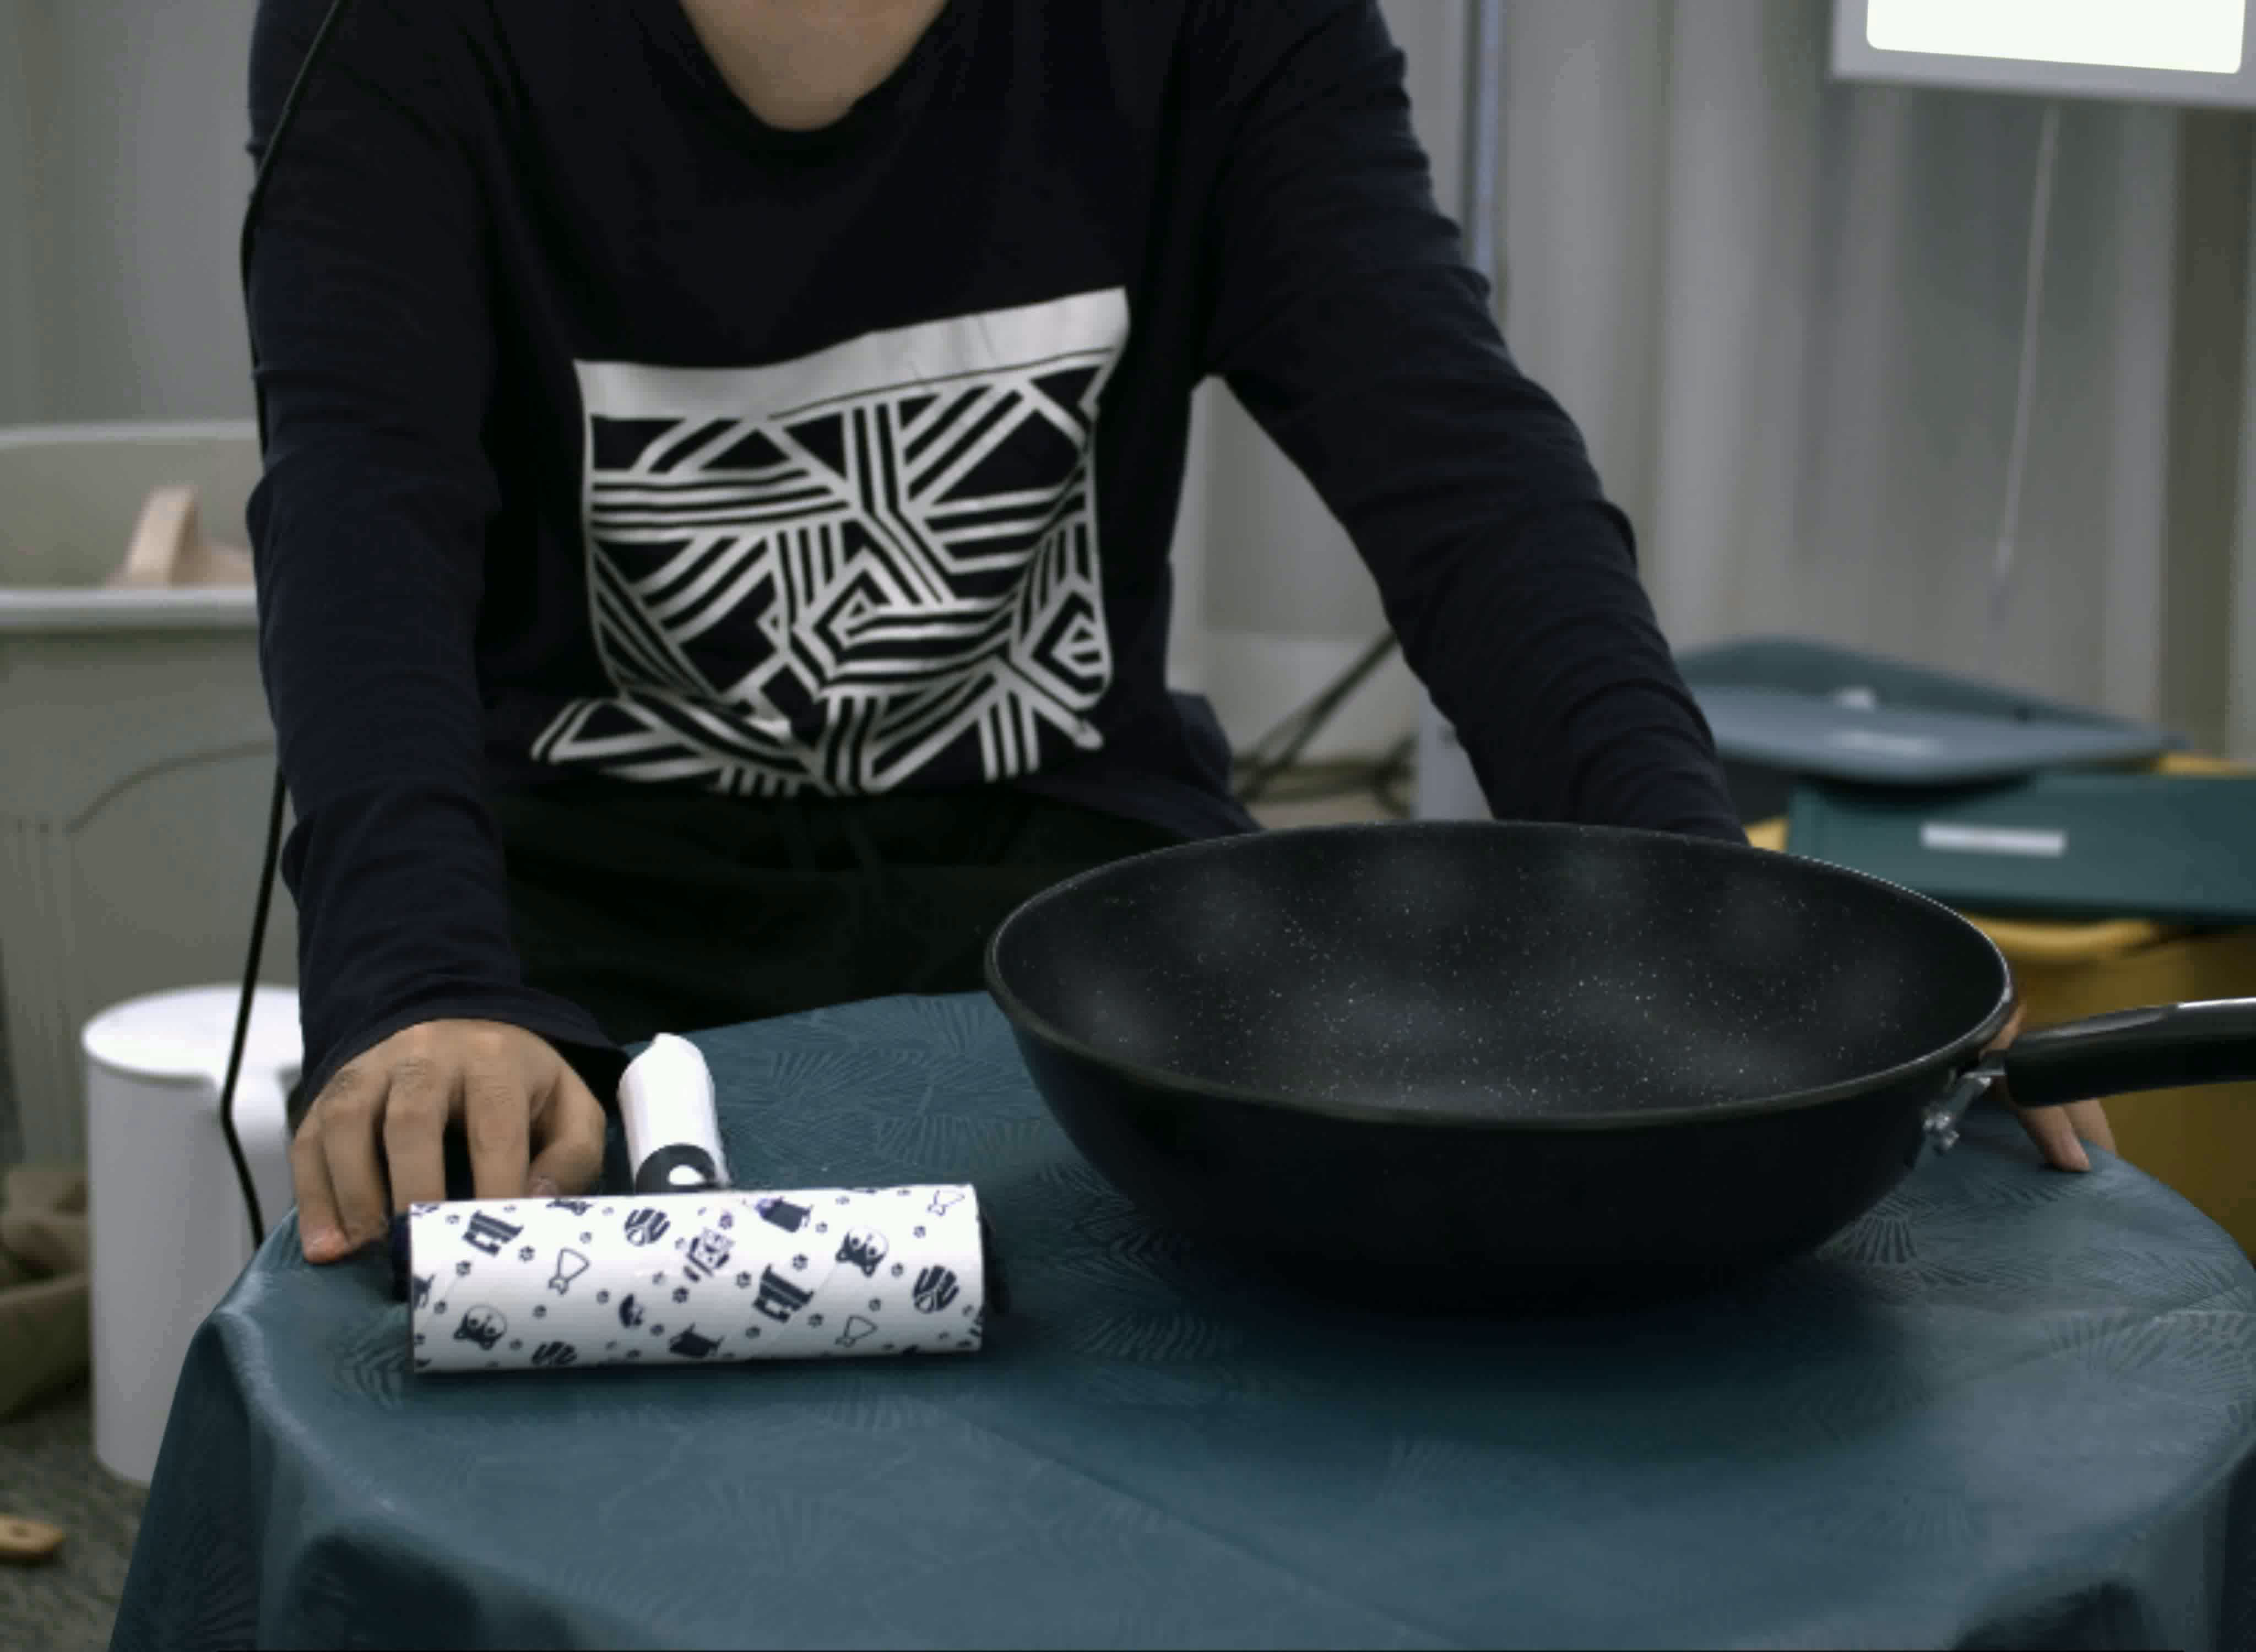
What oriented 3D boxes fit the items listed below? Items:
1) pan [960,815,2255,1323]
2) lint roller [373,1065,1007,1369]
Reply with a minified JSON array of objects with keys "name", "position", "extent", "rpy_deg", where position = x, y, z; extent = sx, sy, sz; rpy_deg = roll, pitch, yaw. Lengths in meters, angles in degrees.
[{"name":"pan","position":[0.180,0.077,1.555],"extent":[0.472,0.112,0.310],"rpy_deg":[7,18,23]},{"name":"lint roller","position":[-0.137,0.104,1.574],"extent":[0.176,0.051,0.245],"rpy_deg":[-3,13,-8]}]
